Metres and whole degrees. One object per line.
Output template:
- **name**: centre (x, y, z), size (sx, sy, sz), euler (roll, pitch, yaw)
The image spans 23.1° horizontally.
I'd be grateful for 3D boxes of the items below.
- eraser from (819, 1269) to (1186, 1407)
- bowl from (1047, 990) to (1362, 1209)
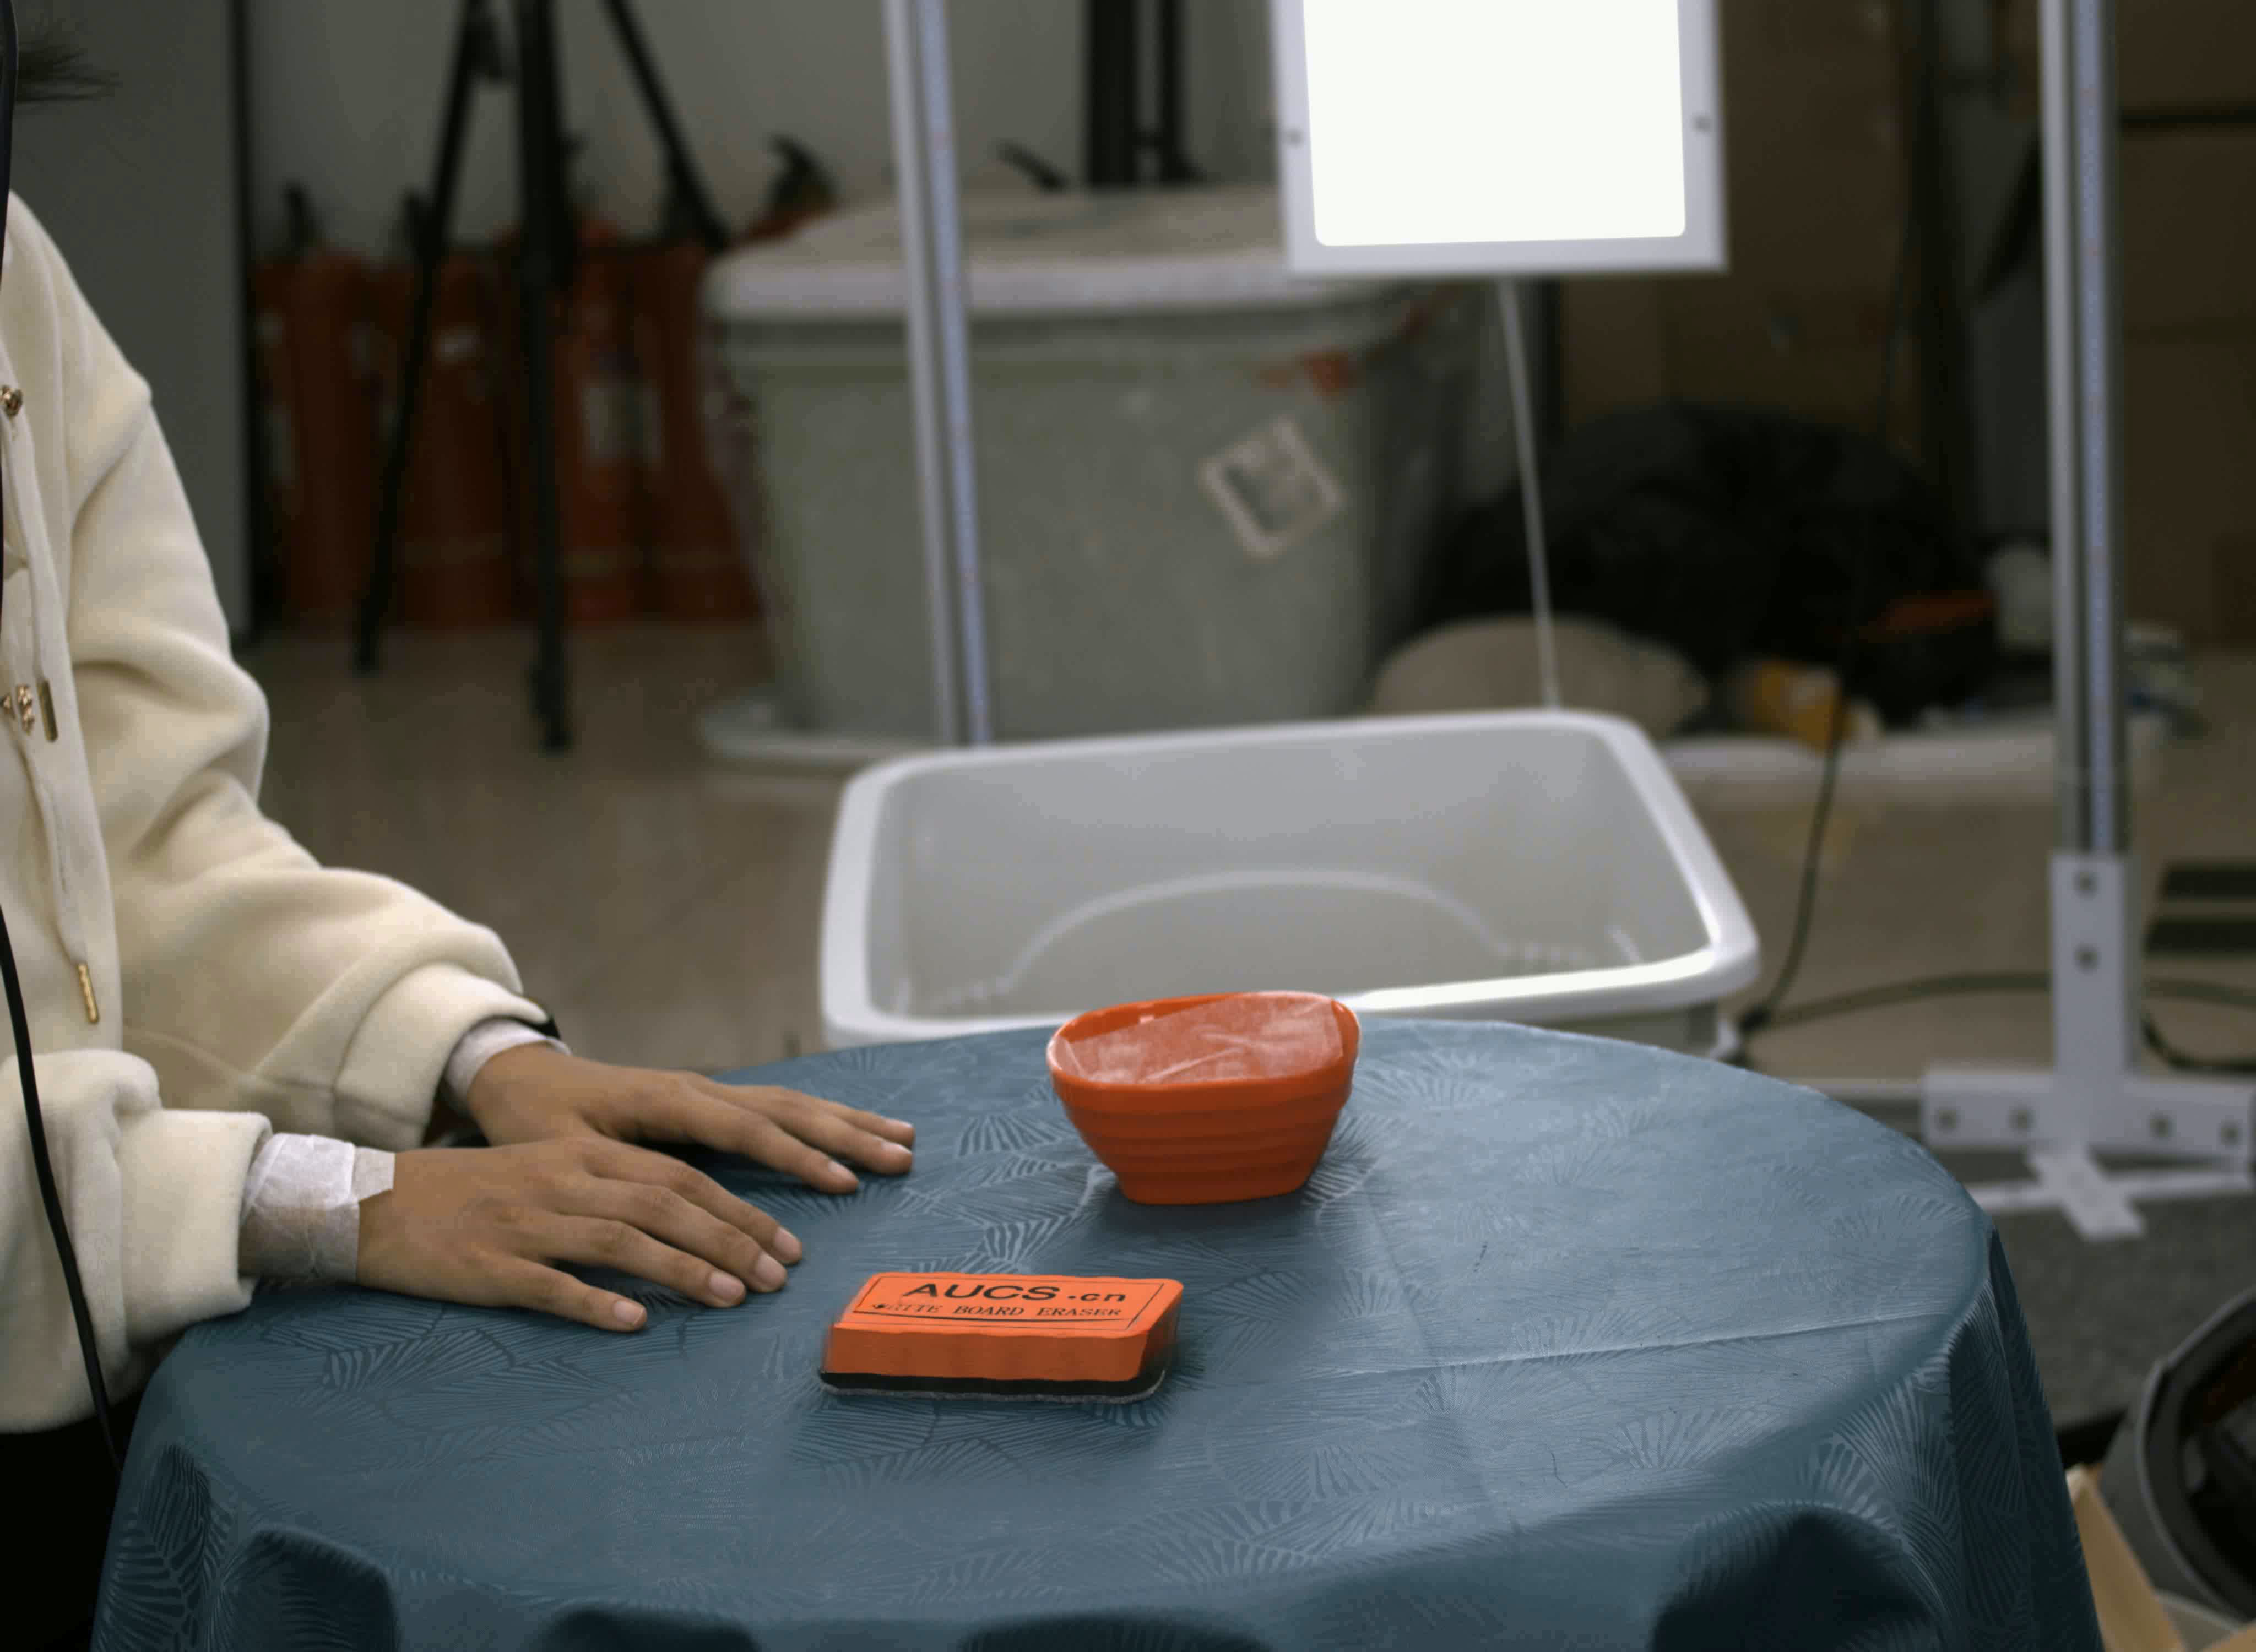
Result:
- **eraser**: centre (-0.039, 0.160, 1.727), size (0.109, 0.023, 0.058), euler (0, 17, 20)
- **bowl**: centre (0.029, 0.097, 1.903), size (0.118, 0.051, 0.119), euler (-6, 15, 0)
